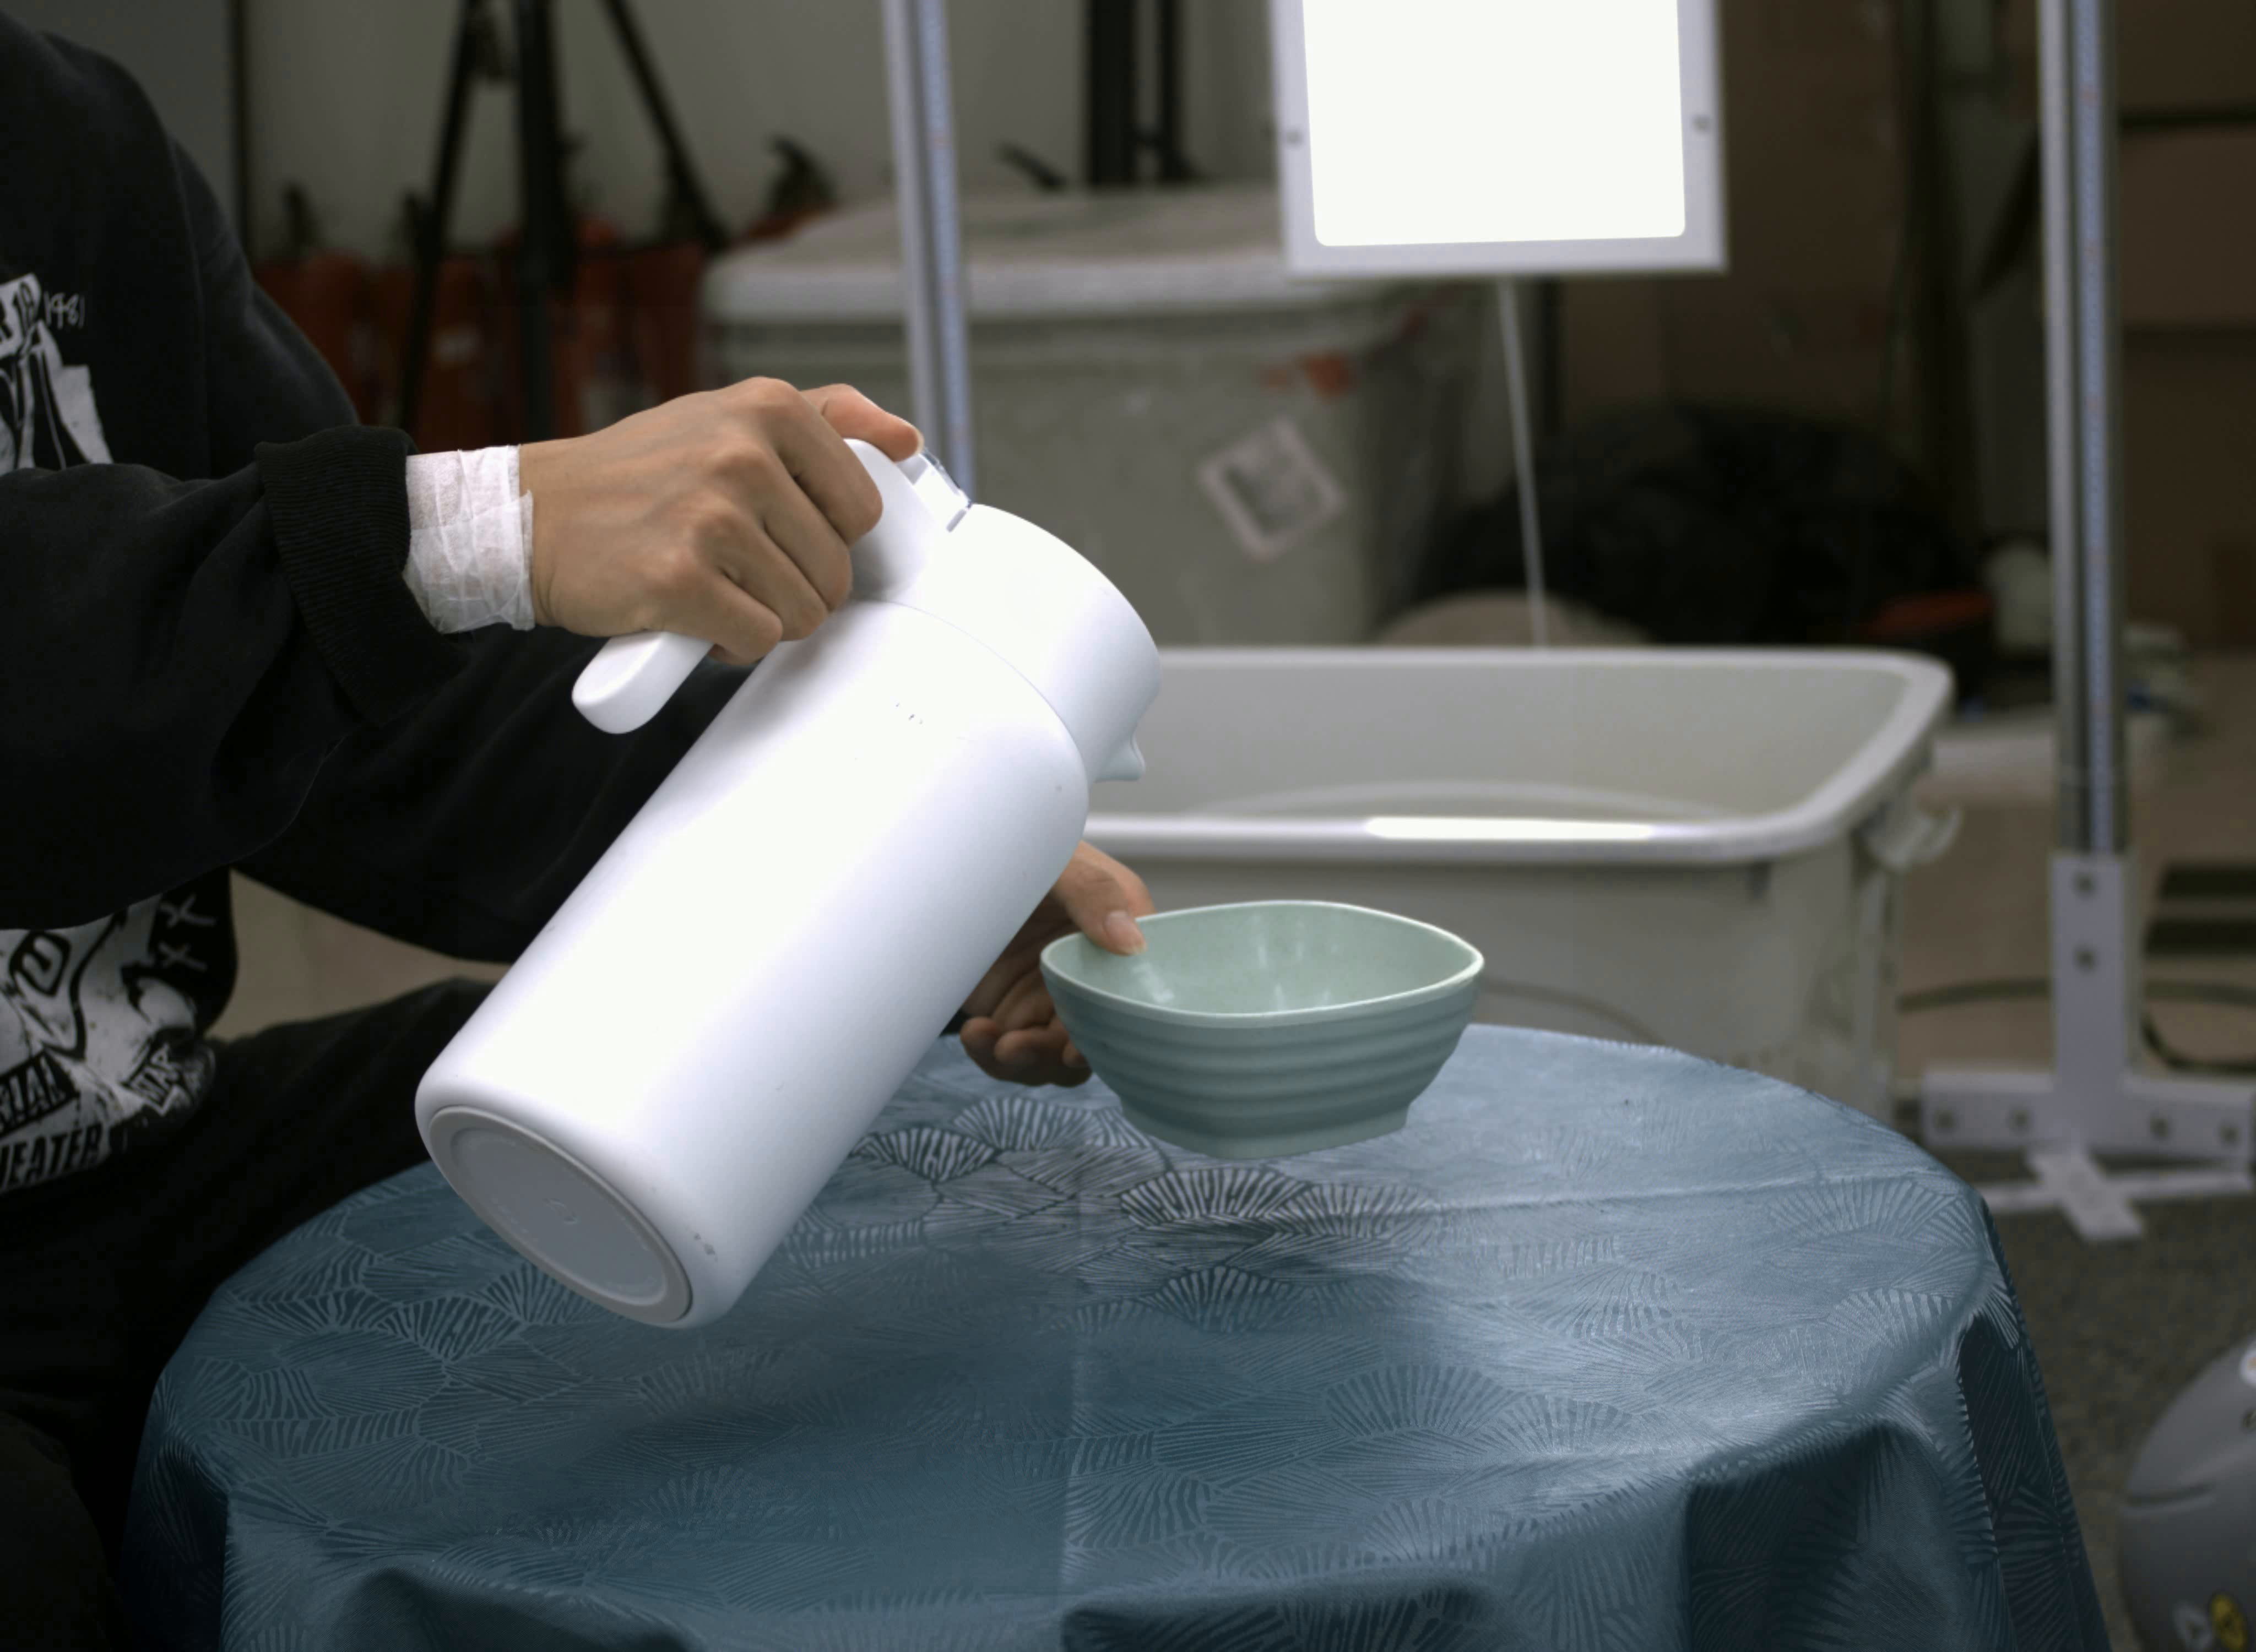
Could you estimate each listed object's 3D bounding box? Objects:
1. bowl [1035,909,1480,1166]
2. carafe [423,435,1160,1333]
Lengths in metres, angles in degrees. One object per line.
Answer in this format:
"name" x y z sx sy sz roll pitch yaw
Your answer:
"bowl" 0.044 0.073 1.849 0.151 0.059 0.151 -1 13 -1
"carafe" -0.108 0.012 1.713 0.126 0.171 0.265 5 51 52
